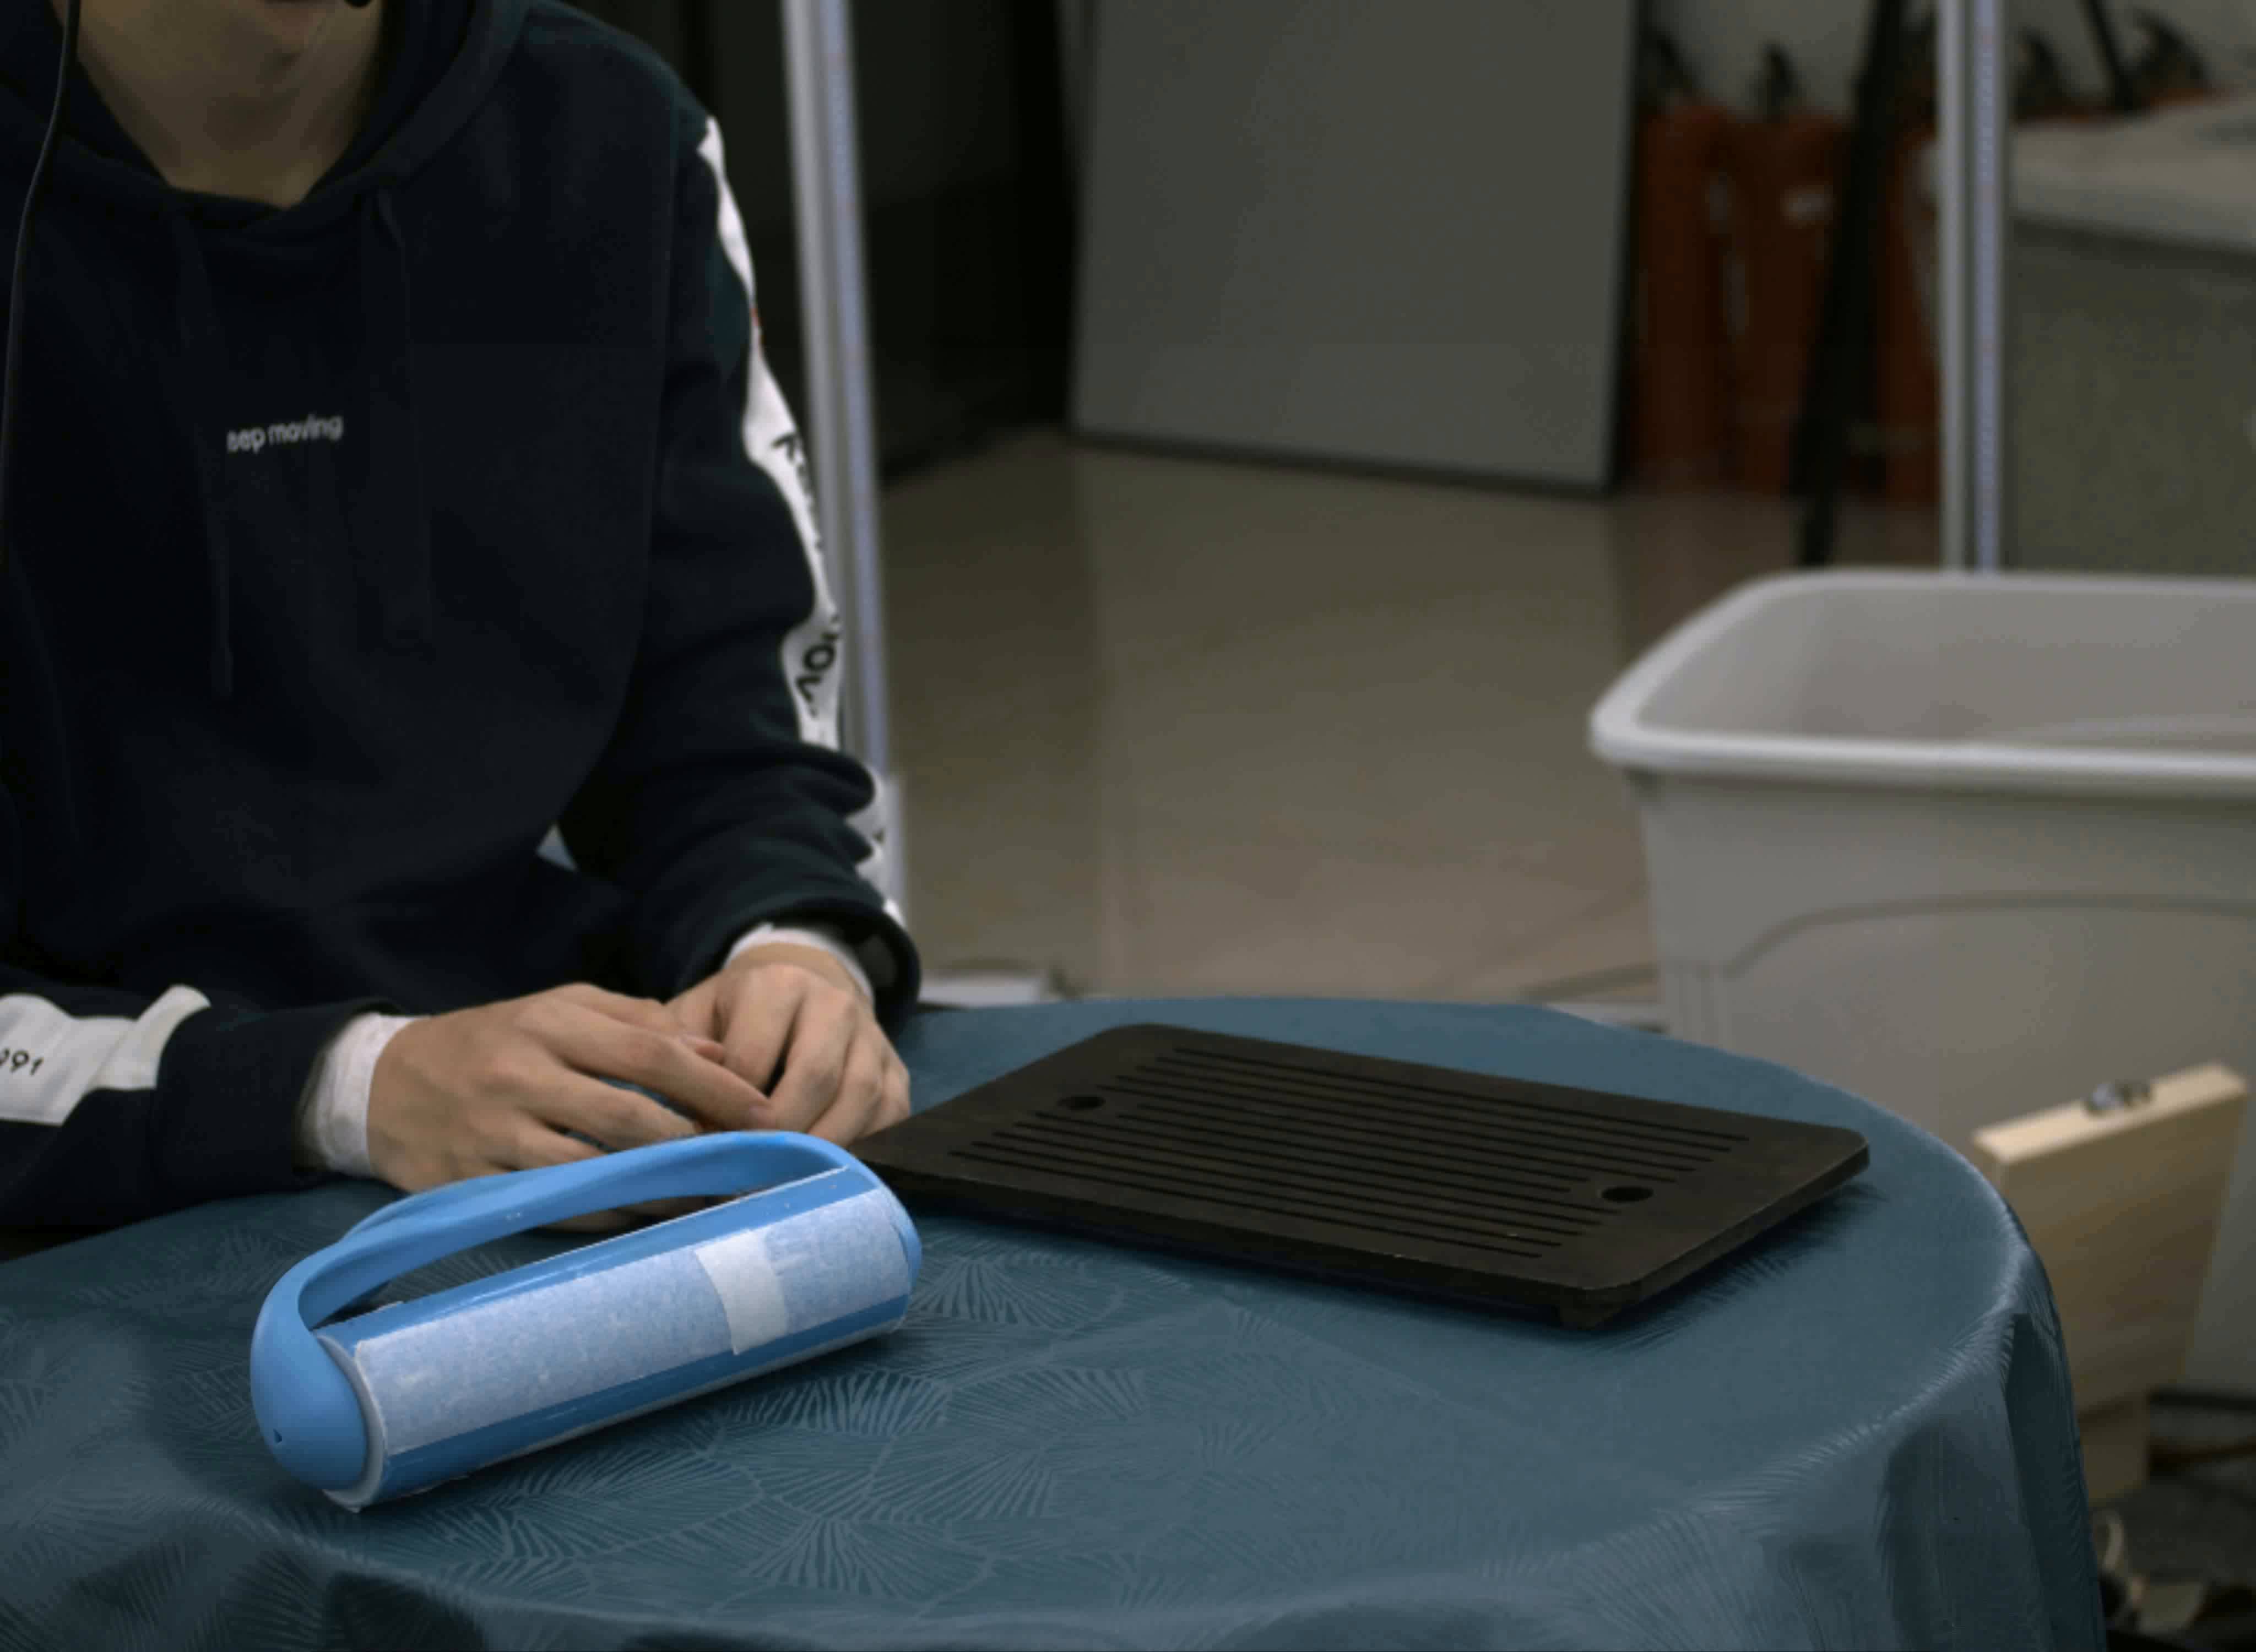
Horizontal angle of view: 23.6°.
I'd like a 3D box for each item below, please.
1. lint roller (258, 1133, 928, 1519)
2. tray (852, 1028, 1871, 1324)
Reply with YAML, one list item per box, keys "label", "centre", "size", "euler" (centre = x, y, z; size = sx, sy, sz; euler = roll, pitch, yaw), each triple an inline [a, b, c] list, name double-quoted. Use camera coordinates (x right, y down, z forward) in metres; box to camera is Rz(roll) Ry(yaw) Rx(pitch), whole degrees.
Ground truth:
- label: "lint roller"
  centre: [-0.192, 0.140, 1.632]
  size: [0.224, 0.068, 0.182]
  euler: [-18, 21, -39]
- label: "tray"
  centre: [0.074, 0.111, 1.752]
  size: [0.308, 0.019, 0.167]
  euler: [6, 17, 37]
